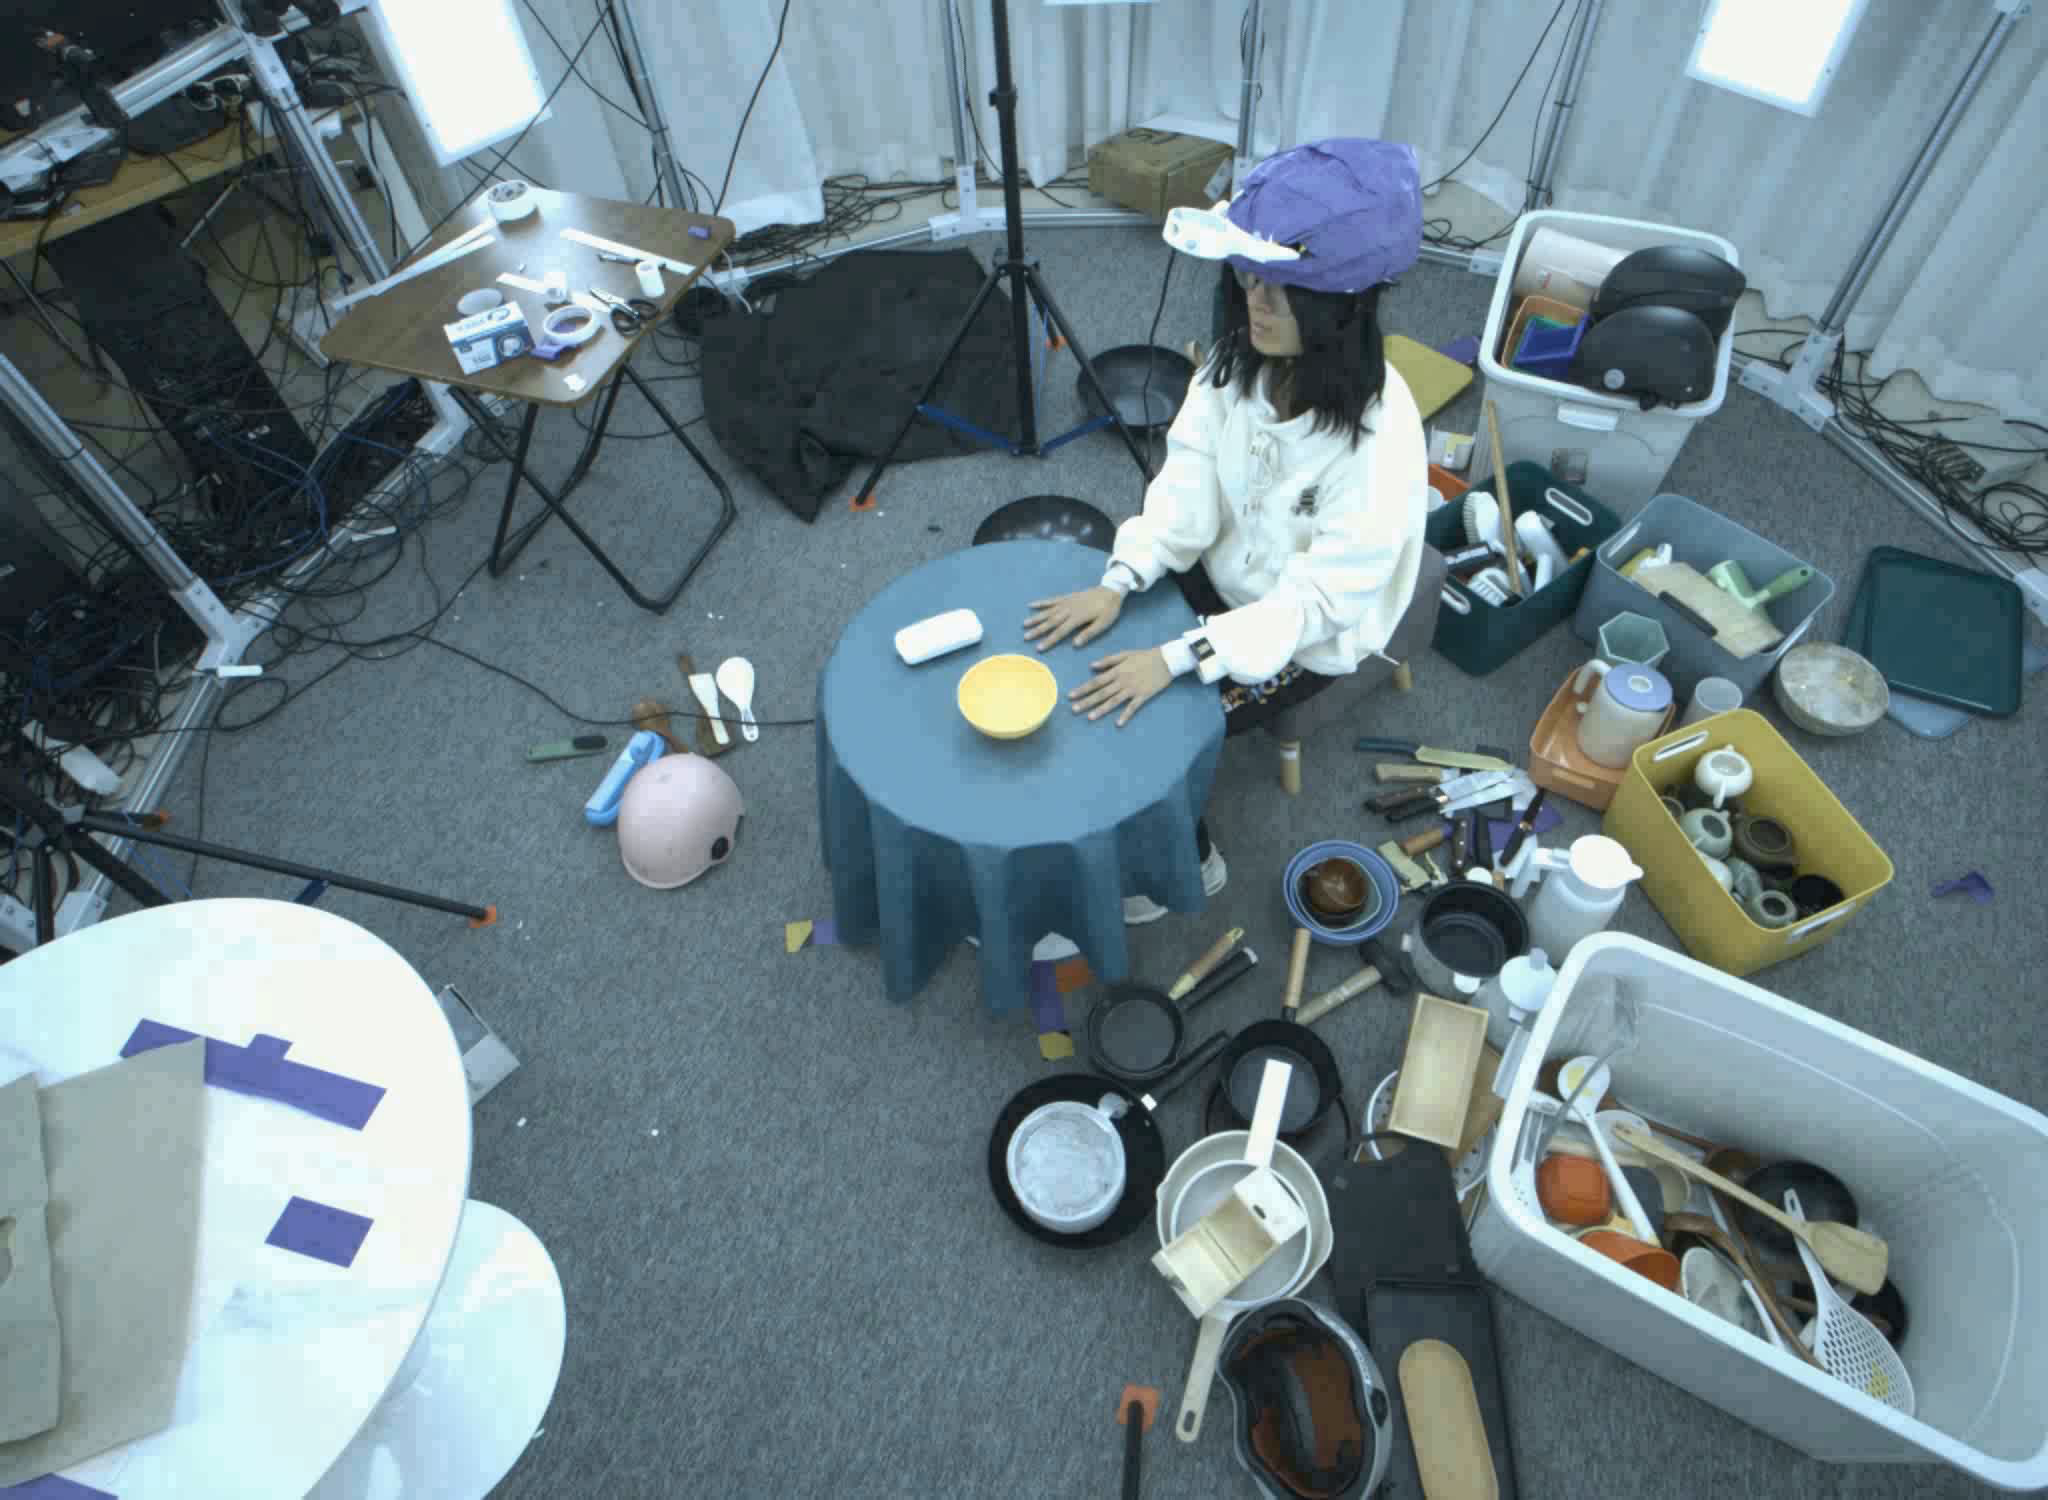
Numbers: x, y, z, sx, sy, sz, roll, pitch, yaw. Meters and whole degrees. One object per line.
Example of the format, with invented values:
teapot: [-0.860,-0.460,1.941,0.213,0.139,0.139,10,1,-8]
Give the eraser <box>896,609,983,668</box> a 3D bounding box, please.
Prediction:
eraser: [-0.130,-0.173,1.896,0.132,0.035,0.062,-21,57,-12]

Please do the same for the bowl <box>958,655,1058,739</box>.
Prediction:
bowl: [-0.021,-0.066,1.800,0.145,0.061,0.144,-2,55,4]
